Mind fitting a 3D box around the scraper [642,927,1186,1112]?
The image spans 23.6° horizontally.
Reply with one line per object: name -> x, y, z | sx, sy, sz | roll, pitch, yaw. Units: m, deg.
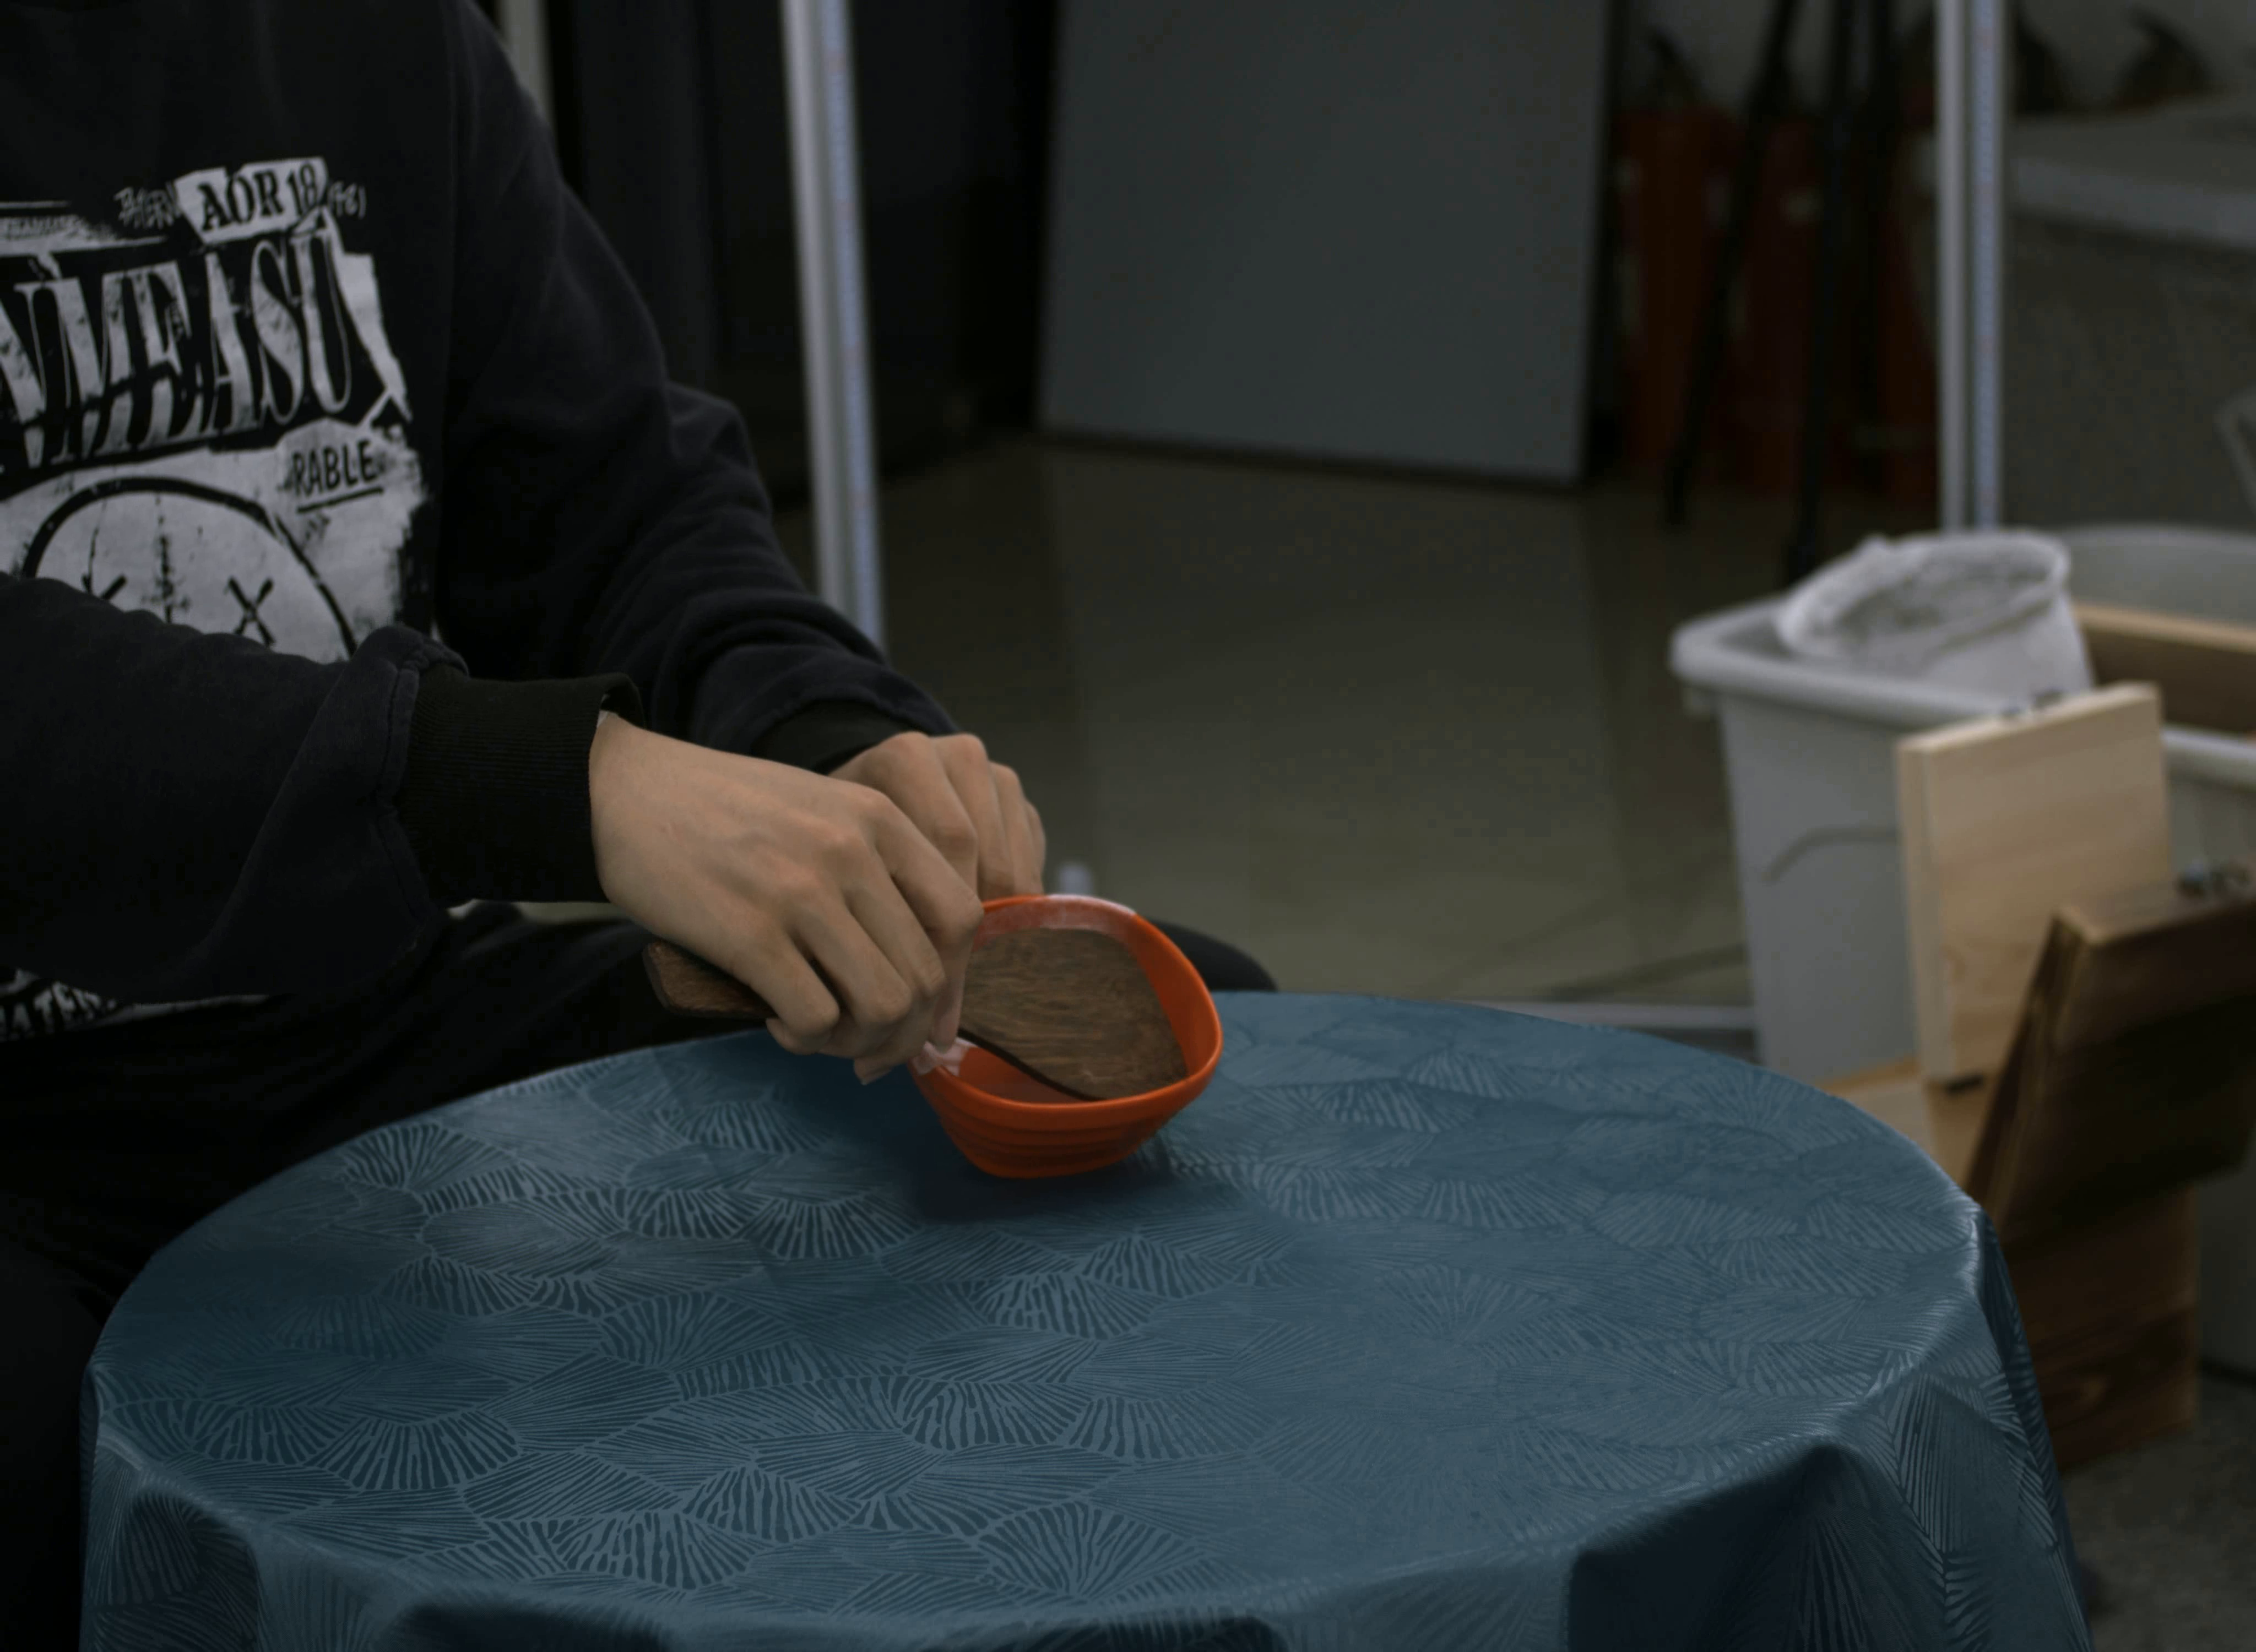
scraper -> -0.069, 0.056, 1.738 | 0.206, 0.011, 0.077 | 8, 45, -40

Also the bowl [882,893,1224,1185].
bowl -> -0.028, 0.077, 1.802 | 0.117, 0.052, 0.120 | 7, 37, -6
